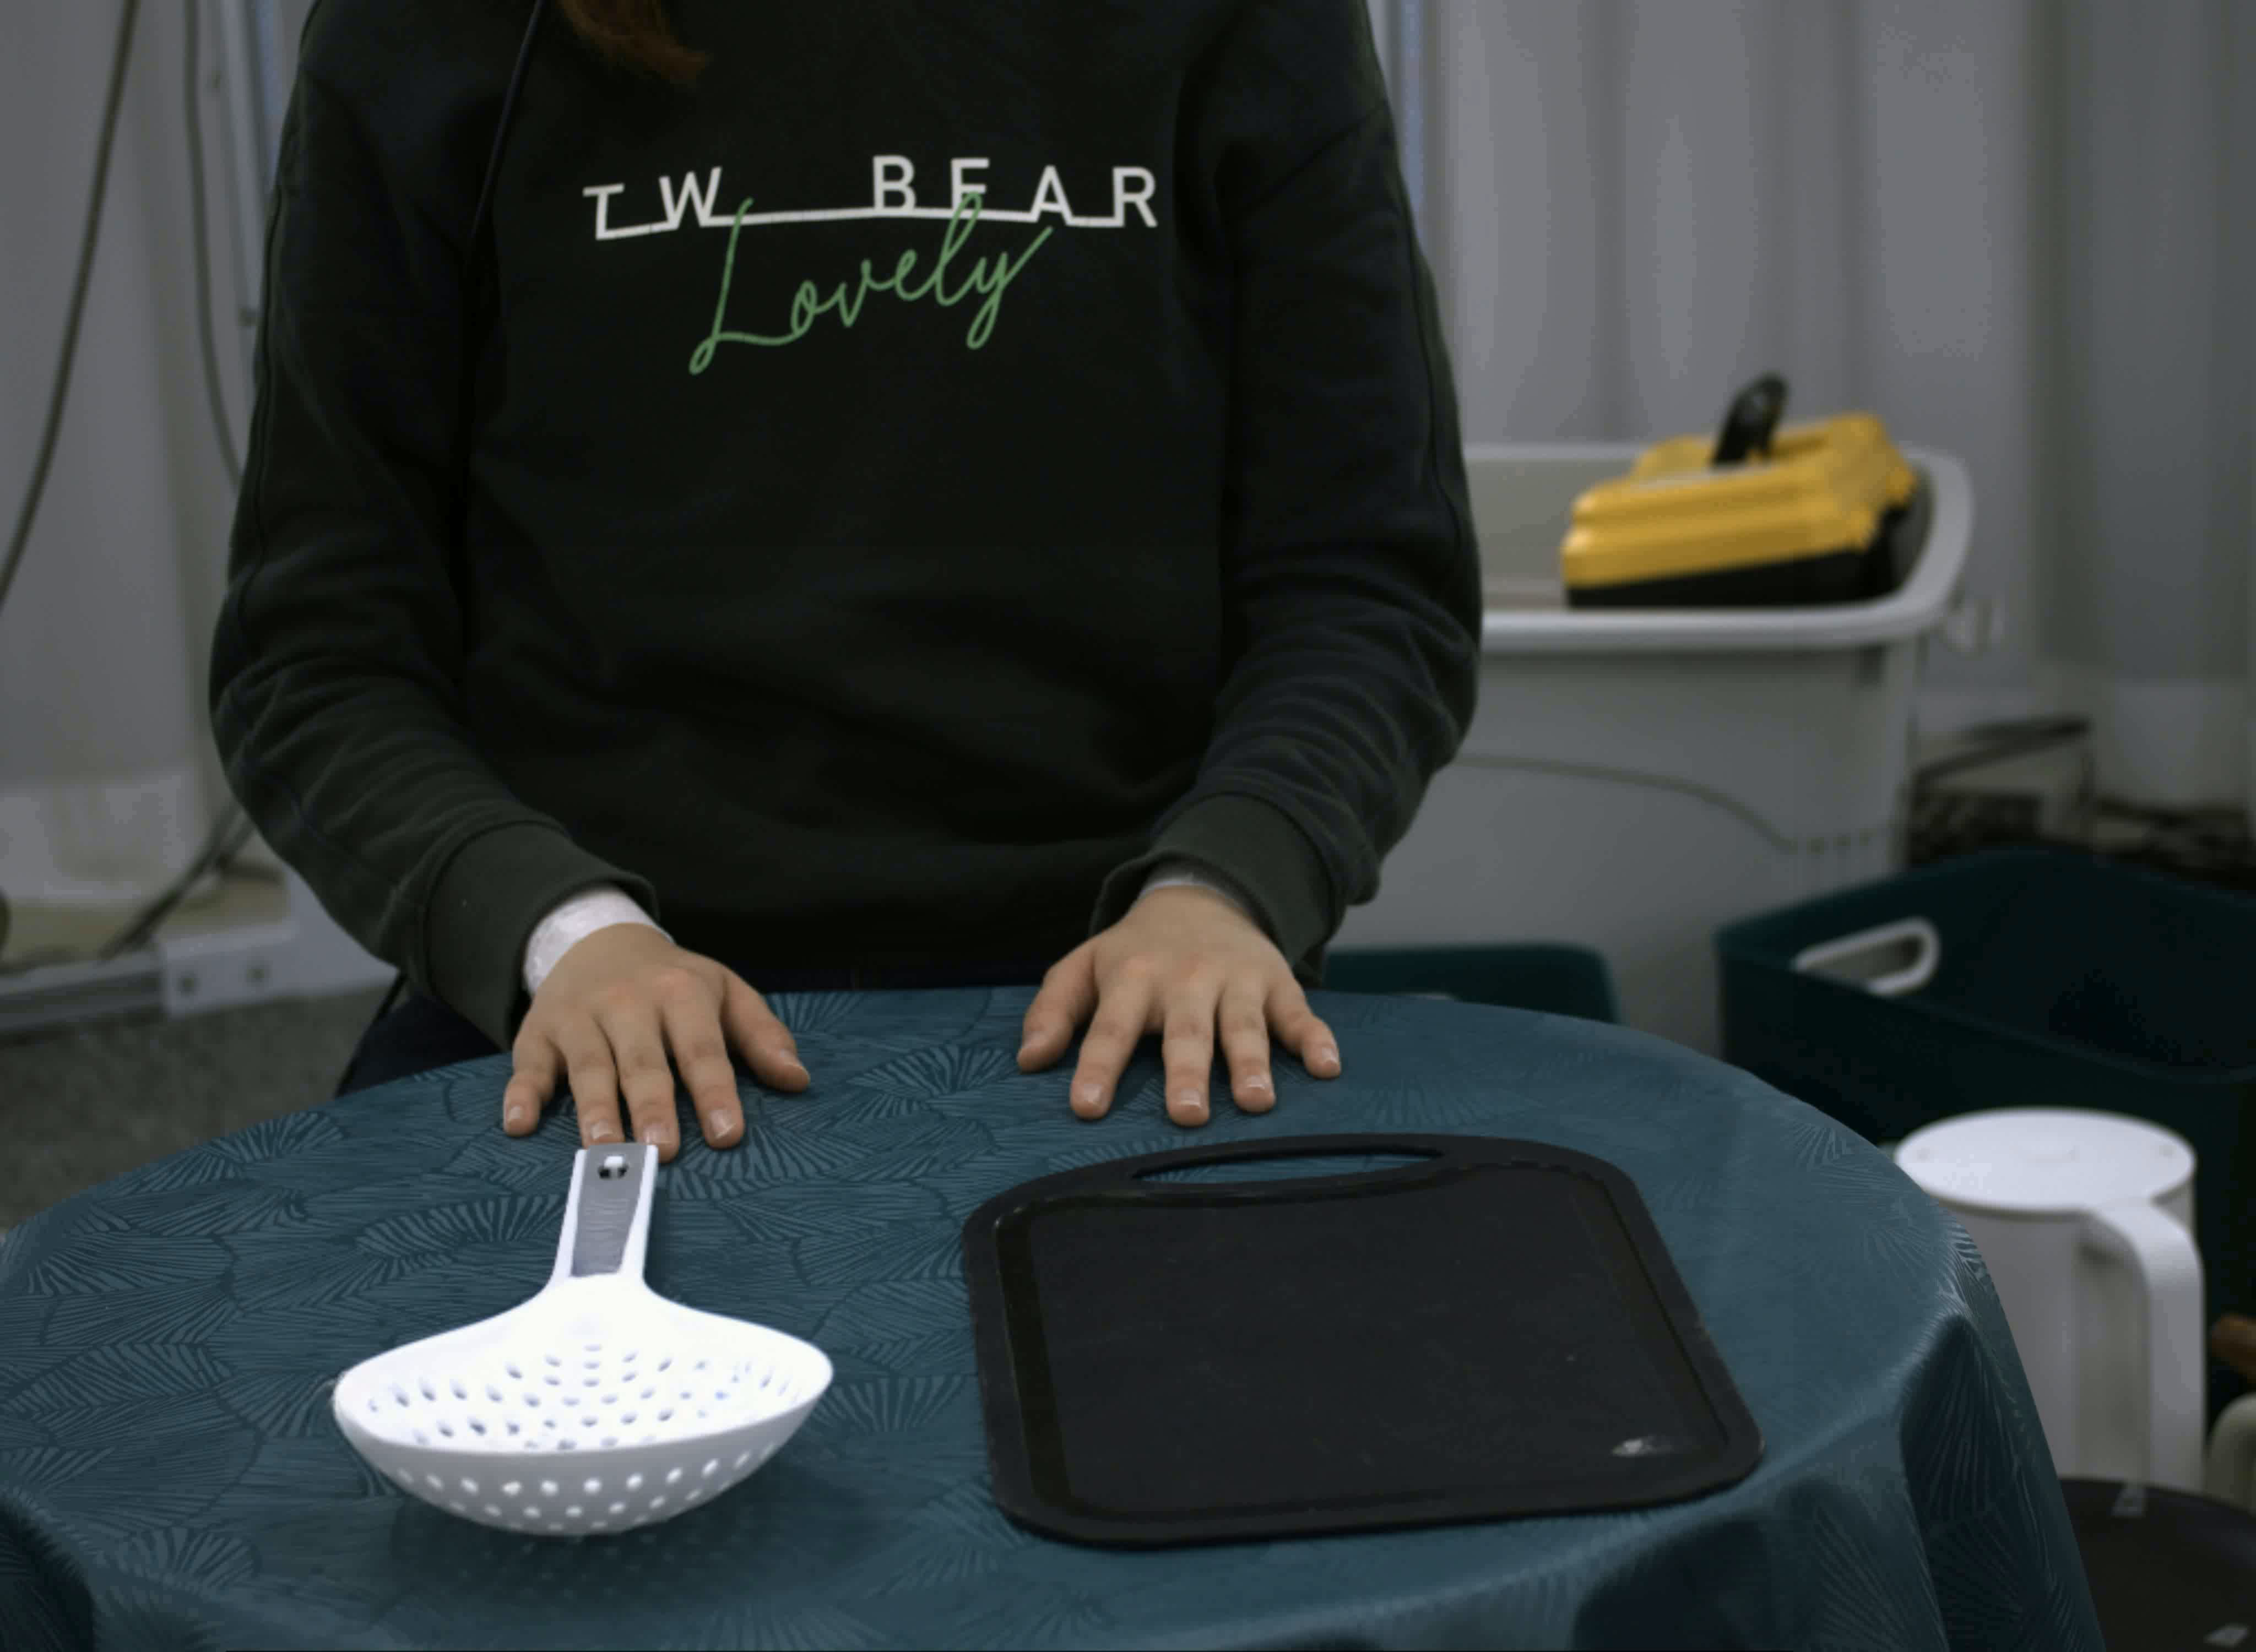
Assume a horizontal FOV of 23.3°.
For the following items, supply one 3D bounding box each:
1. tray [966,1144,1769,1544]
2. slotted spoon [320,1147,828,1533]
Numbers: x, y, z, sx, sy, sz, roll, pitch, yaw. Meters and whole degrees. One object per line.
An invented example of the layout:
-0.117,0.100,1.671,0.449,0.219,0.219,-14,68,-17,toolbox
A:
0.060,0.142,1.586,0.210,0.010,0.327,-3,15,-3,tray
-0.153,0.138,1.568,0.135,0.045,0.352,-1,14,-3,slotted spoon
